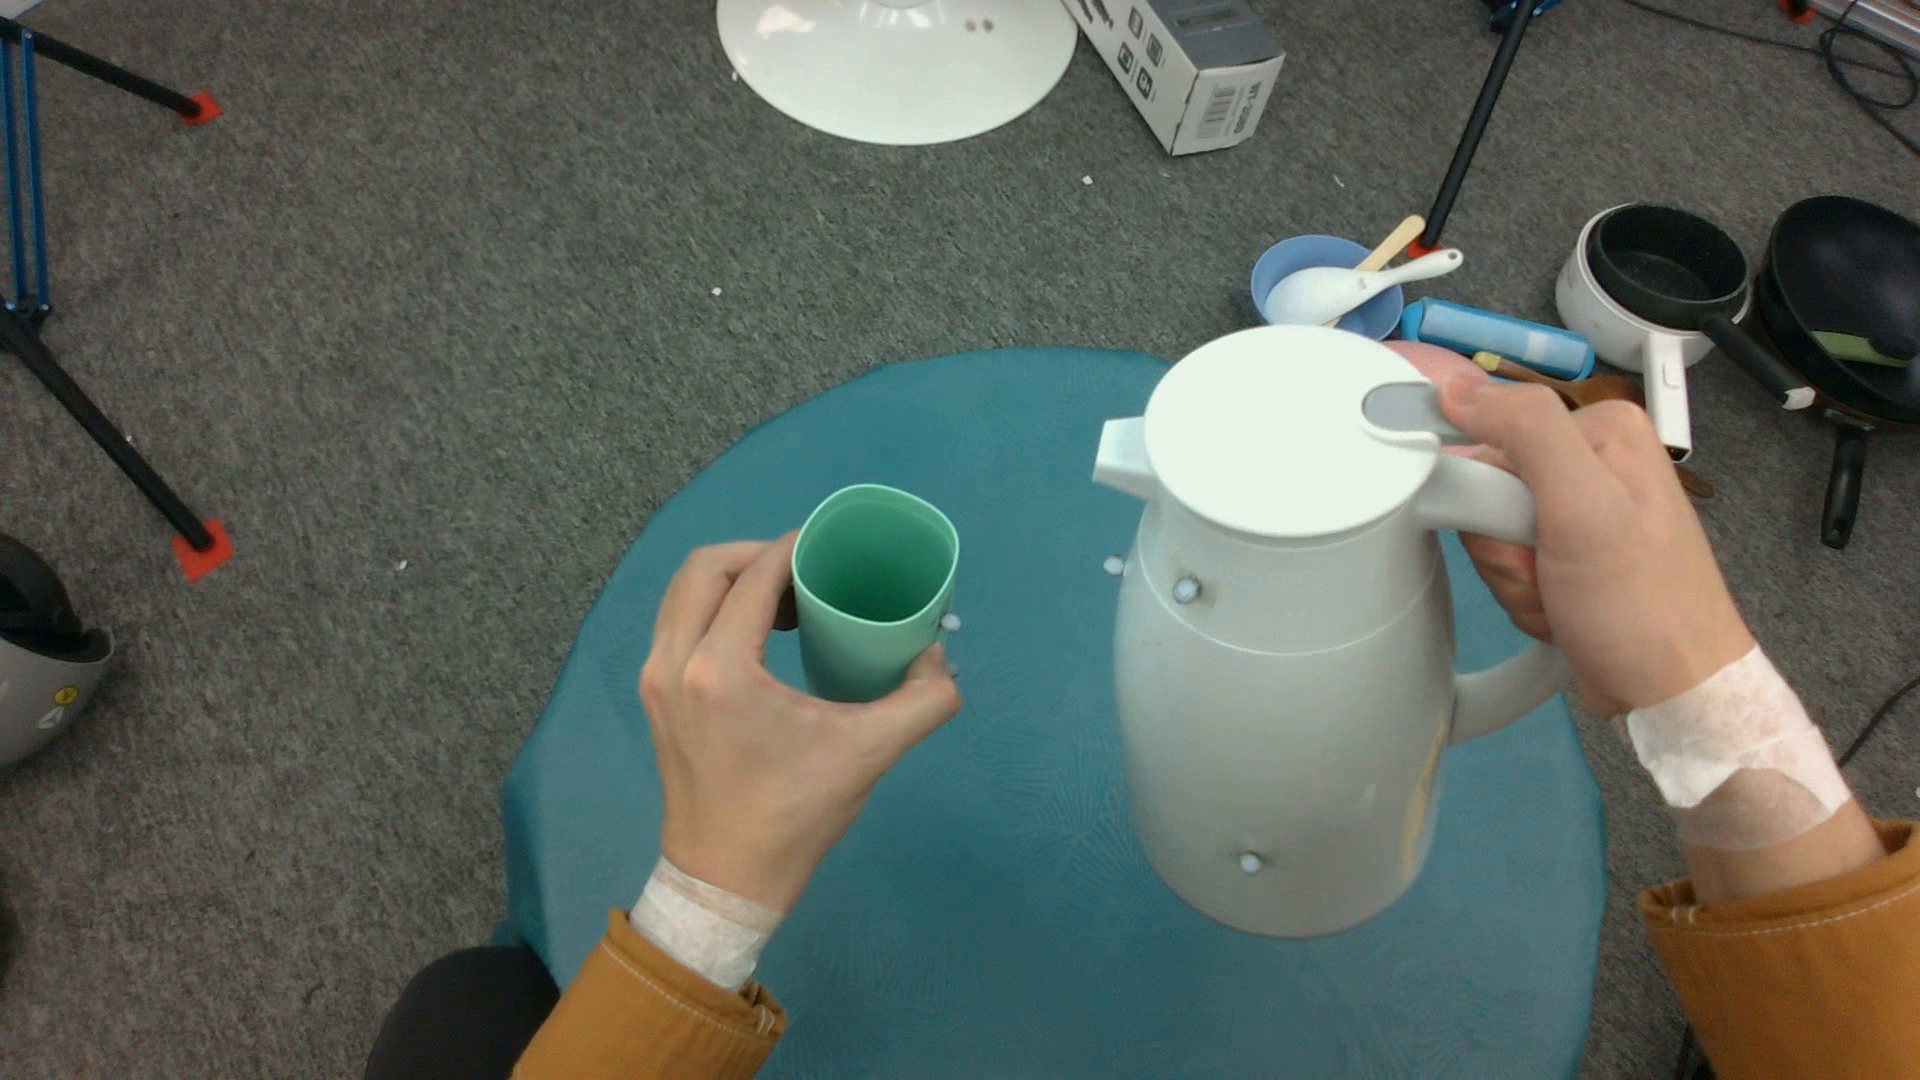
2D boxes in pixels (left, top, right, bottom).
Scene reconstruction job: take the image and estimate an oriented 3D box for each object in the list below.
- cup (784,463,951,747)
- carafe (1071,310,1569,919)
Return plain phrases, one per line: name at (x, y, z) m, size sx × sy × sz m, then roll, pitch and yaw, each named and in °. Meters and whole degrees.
cup at (-0.042, 0.033, 0.592) m, size 0.067 × 0.131 × 0.067 m, roll 3°, pitch 56°, yaw -4°
carafe at (0.134, 0.030, 0.520) m, size 0.167 × 0.247 × 0.133 m, roll 2°, pitch 51°, yaw 13°
